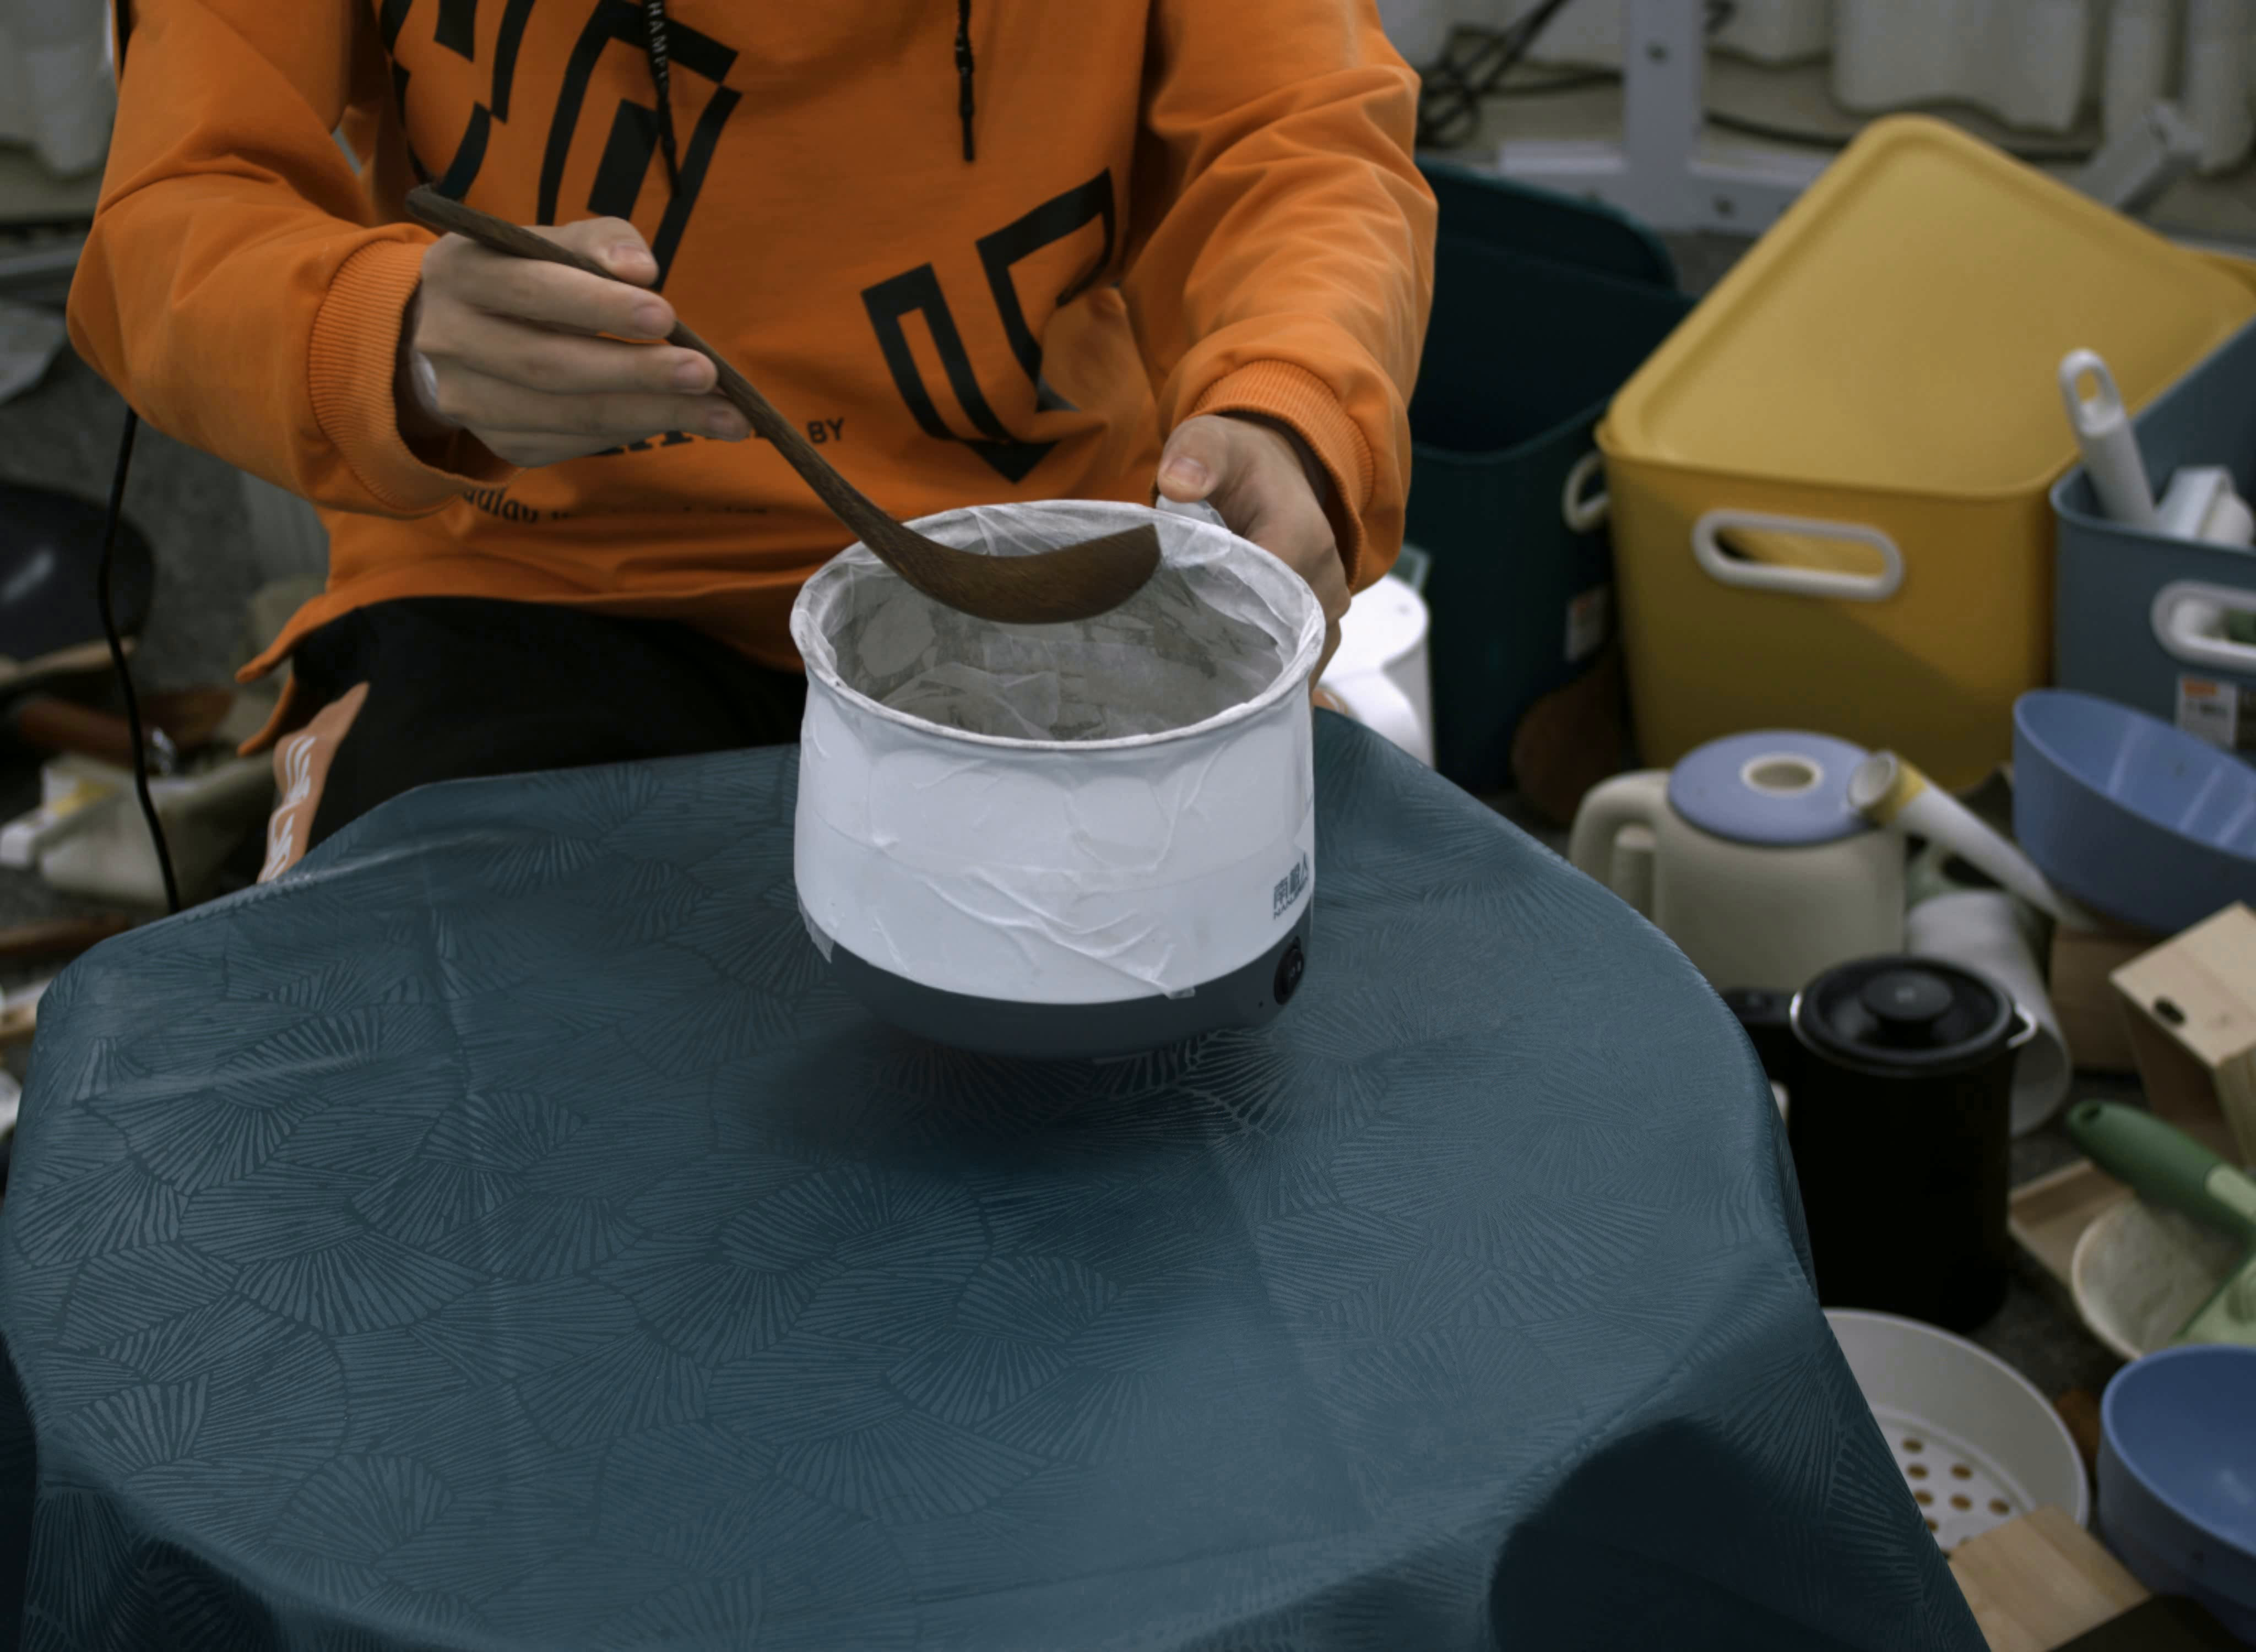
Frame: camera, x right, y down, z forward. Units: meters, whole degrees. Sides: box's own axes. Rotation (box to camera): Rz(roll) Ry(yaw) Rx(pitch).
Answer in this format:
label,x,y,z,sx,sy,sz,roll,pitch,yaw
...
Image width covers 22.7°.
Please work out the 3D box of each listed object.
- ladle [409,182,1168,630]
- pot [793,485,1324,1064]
label,x,y,z,sx,sy,sz,roll,pitch,yaw
ladle,-0.110,-0.153,1.881,0.273,0.072,0.075,38,-8,-3
pot,-0.014,-0.026,1.913,0.178,0.135,0.238,13,30,19
